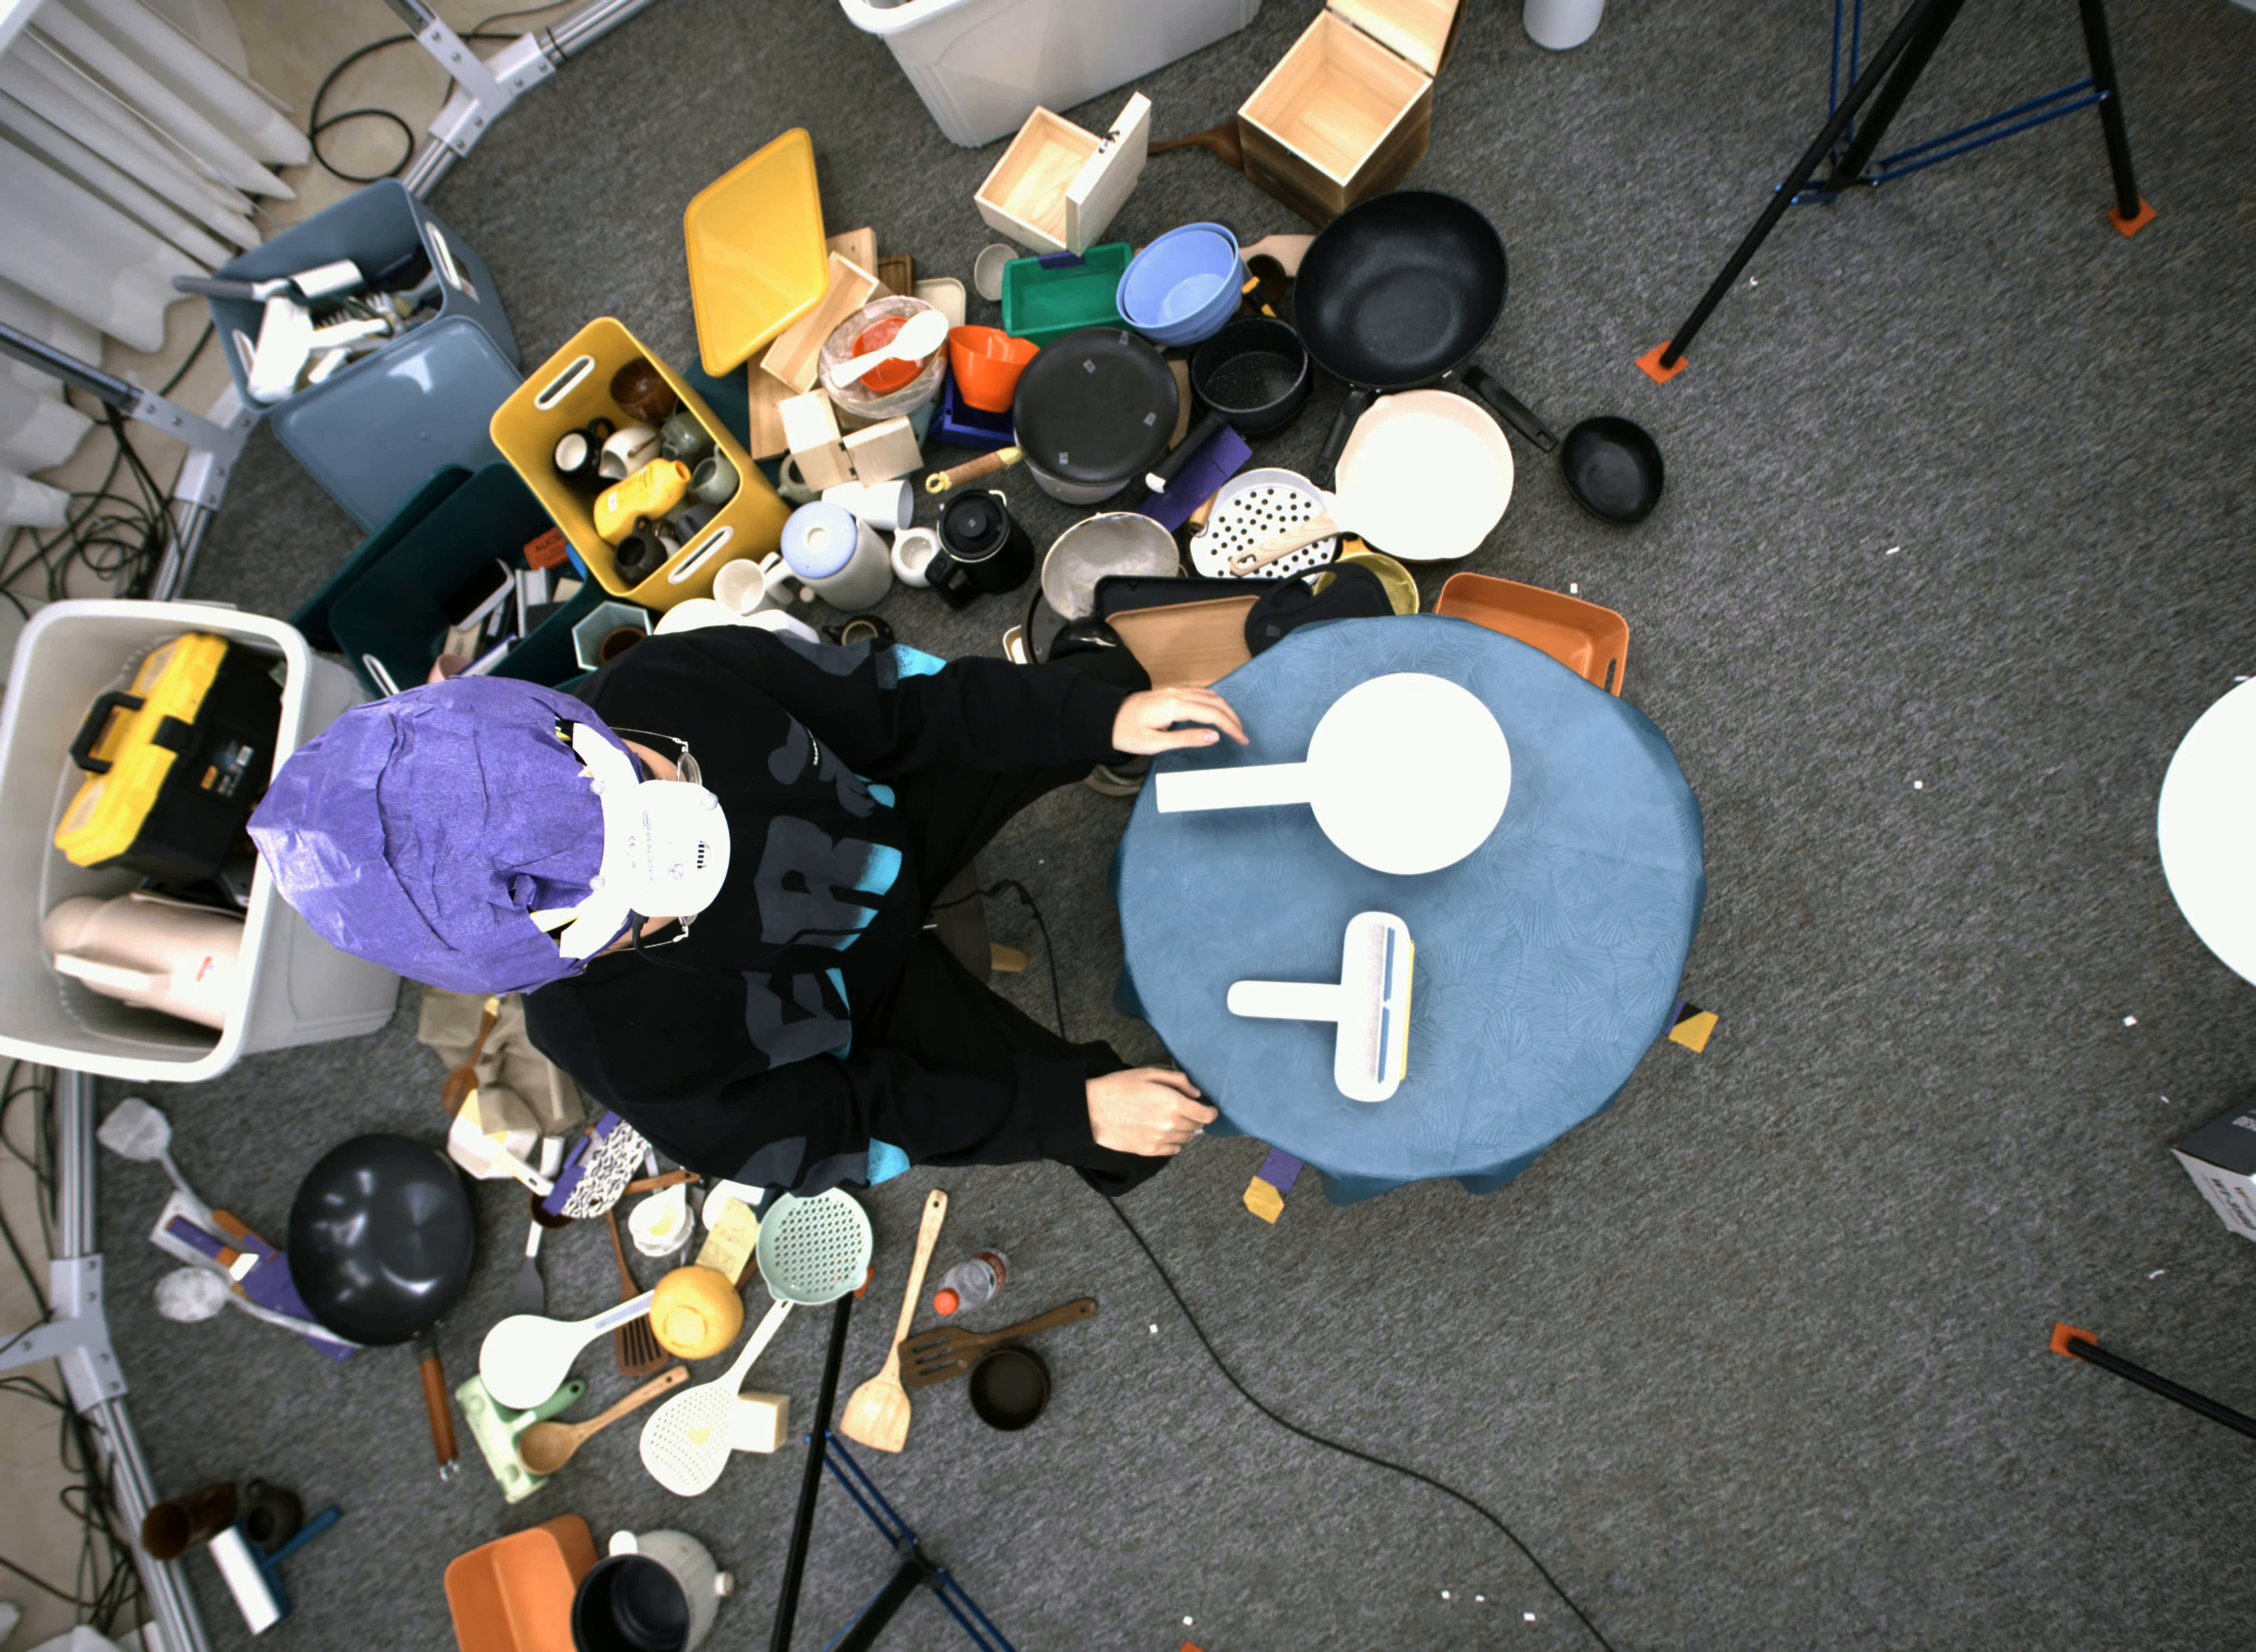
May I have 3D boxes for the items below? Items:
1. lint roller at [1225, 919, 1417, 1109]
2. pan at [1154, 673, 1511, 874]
[{"bbox_3d":[0.192,0.183,1.430,0.193,0.074,0.191,8,83,12],"label":"lint roller"},{"bbox_3d":[0.208,-0.044,1.421,0.356,0.102,0.200,-4,86,10],"label":"pan"}]
